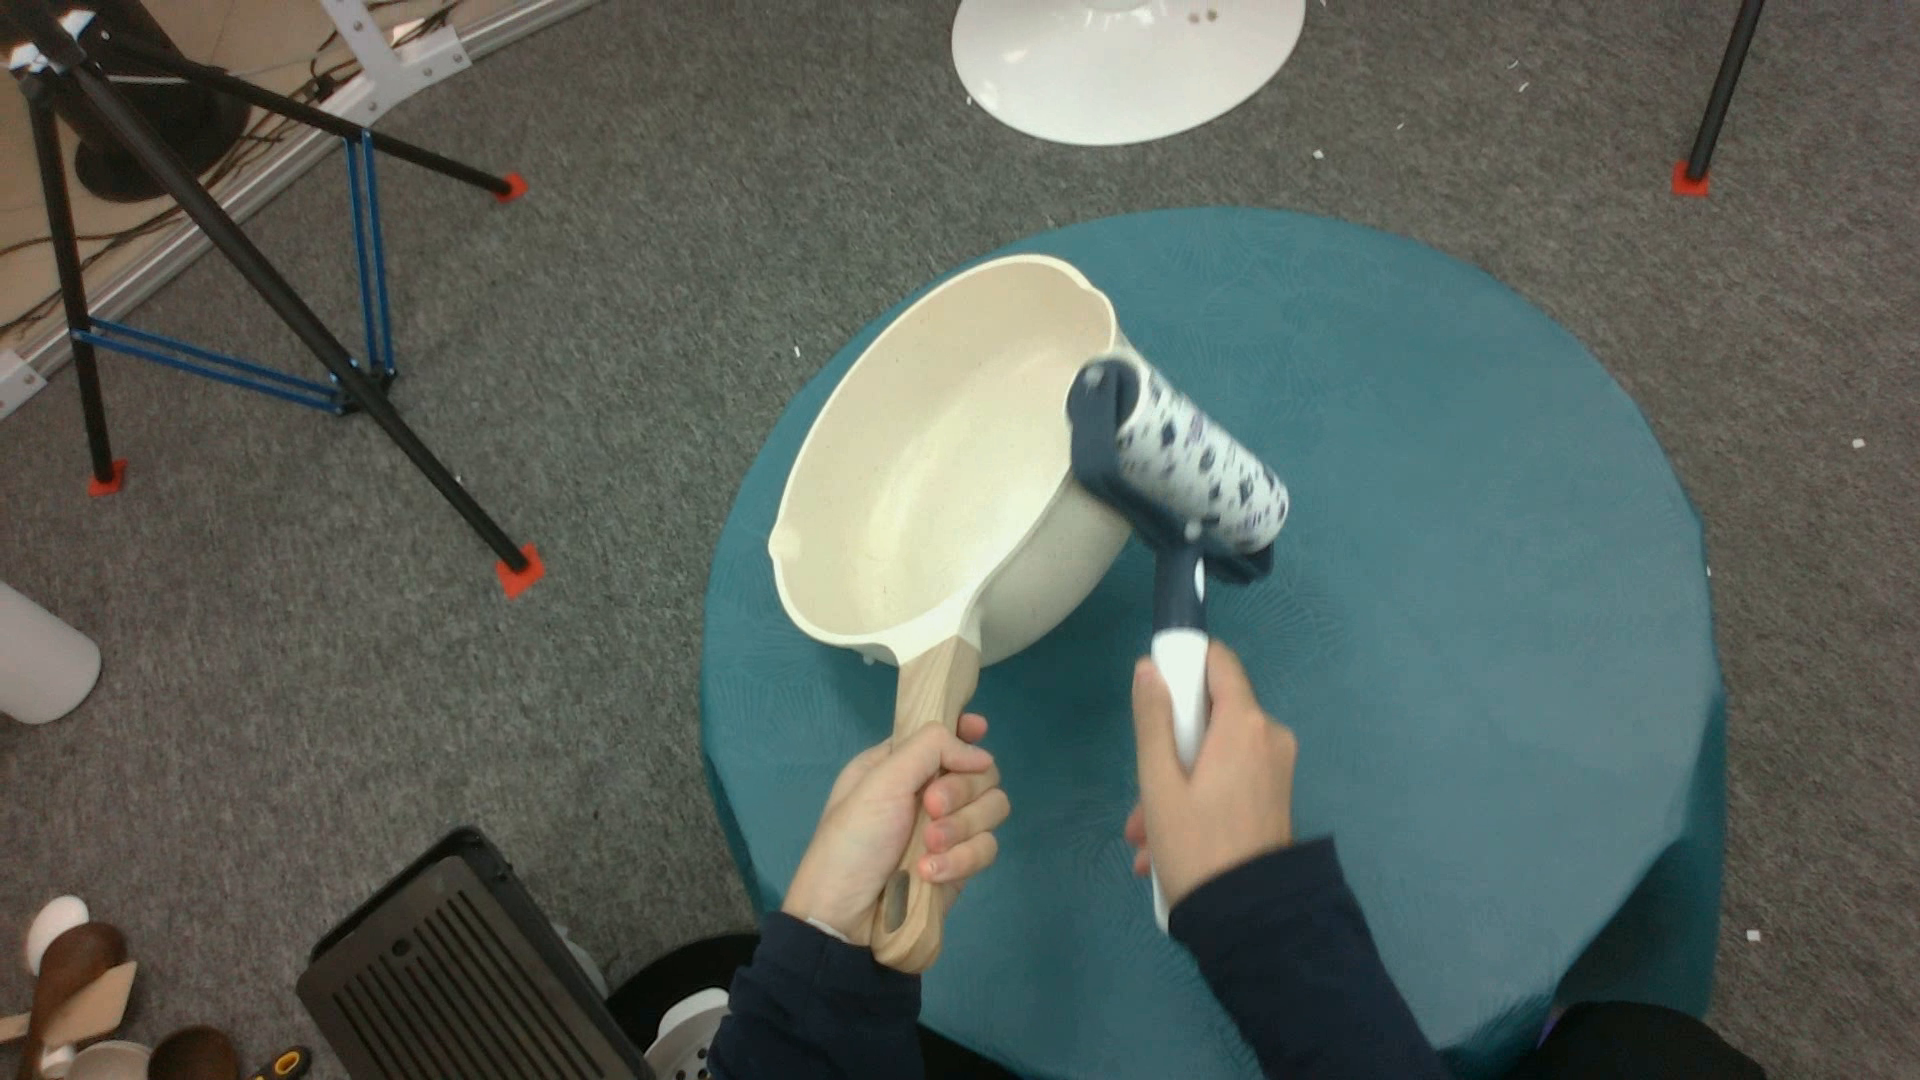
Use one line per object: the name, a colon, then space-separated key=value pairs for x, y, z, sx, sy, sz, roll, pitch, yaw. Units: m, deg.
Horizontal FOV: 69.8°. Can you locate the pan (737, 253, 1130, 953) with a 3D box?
pan: x=-0.009 y=0.025 z=0.732 sx=0.262 sy=0.102 sz=0.437 roll=-30 pitch=42 yaw=26

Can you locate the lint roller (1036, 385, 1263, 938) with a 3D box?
lint roller: x=0.099 y=0.065 z=0.670 sx=0.050 sy=0.176 sz=0.248 roll=-14 pitch=67 yaw=34
